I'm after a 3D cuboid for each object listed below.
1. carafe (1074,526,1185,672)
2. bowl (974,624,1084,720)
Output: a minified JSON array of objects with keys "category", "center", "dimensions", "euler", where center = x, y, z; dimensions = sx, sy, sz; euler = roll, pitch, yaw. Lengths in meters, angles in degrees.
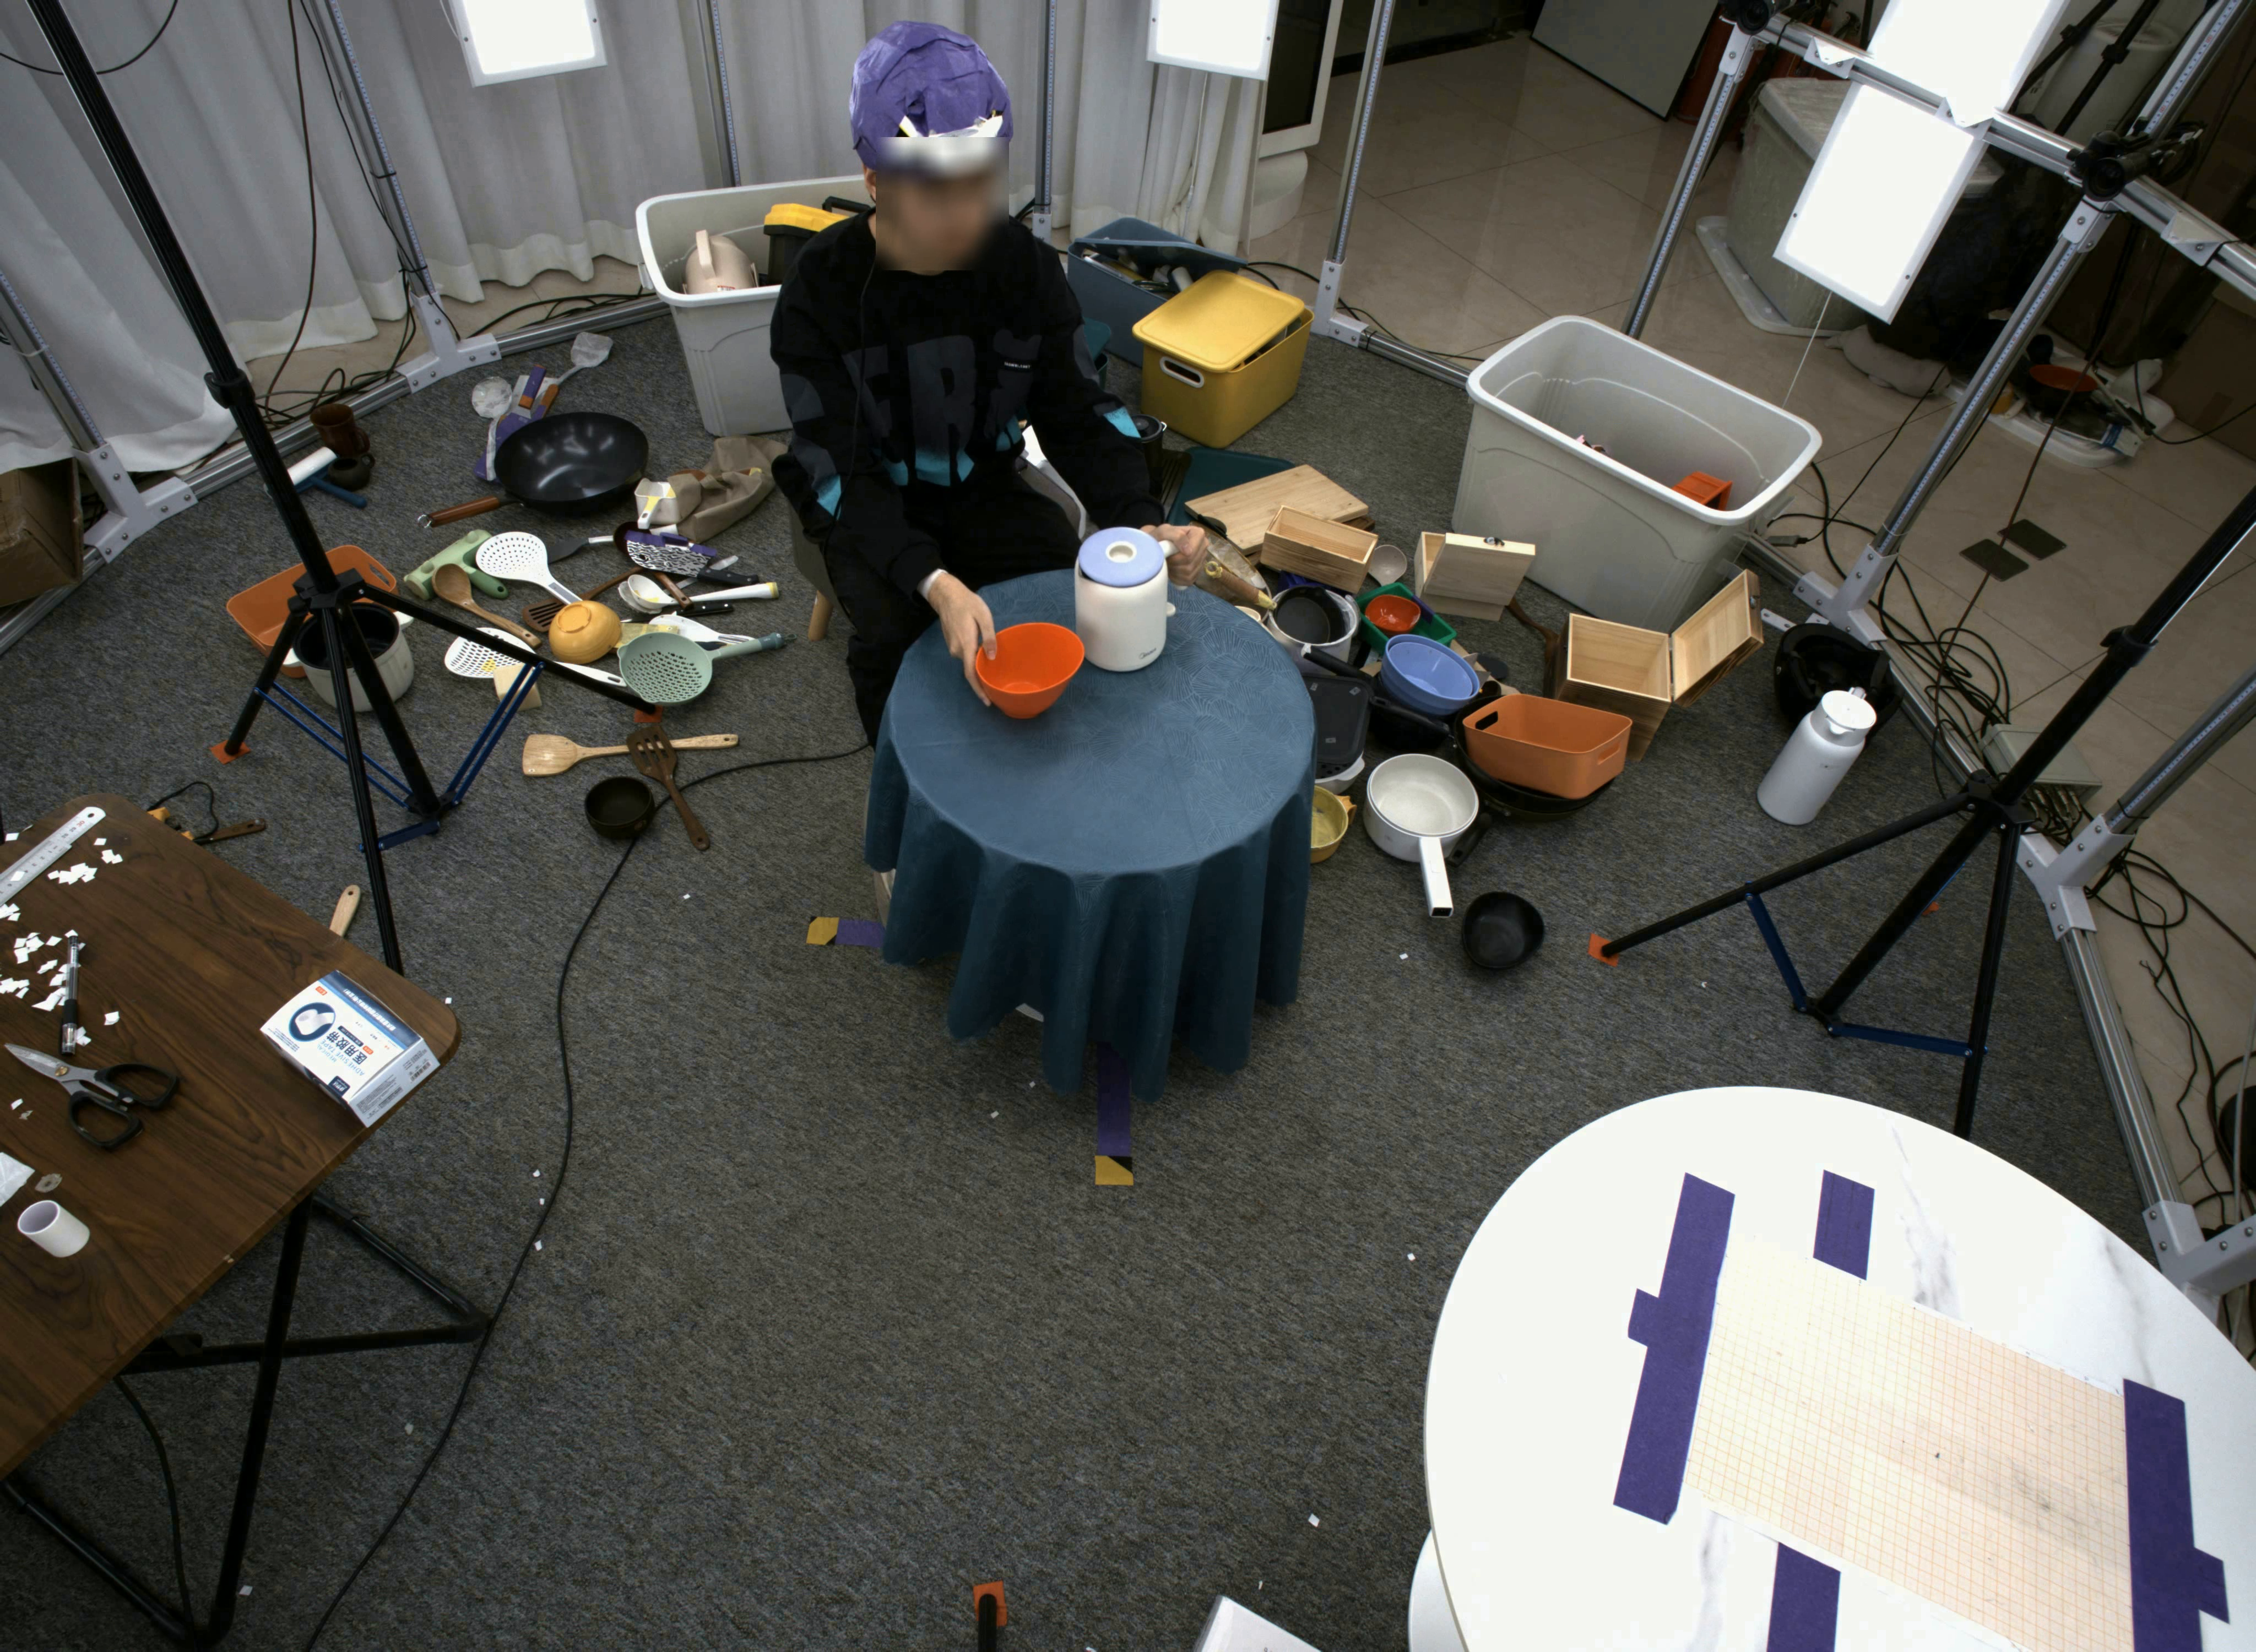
[{"category":"carafe","center":[0.009,-0.334,1.842],"dimensions":[0.192,0.178,0.134],"euler":[-30,59,-24]},{"category":"bowl","center":[-0.137,-0.202,1.769],"dimensions":[0.148,0.102,0.152],"euler":[2,50,-3]}]
